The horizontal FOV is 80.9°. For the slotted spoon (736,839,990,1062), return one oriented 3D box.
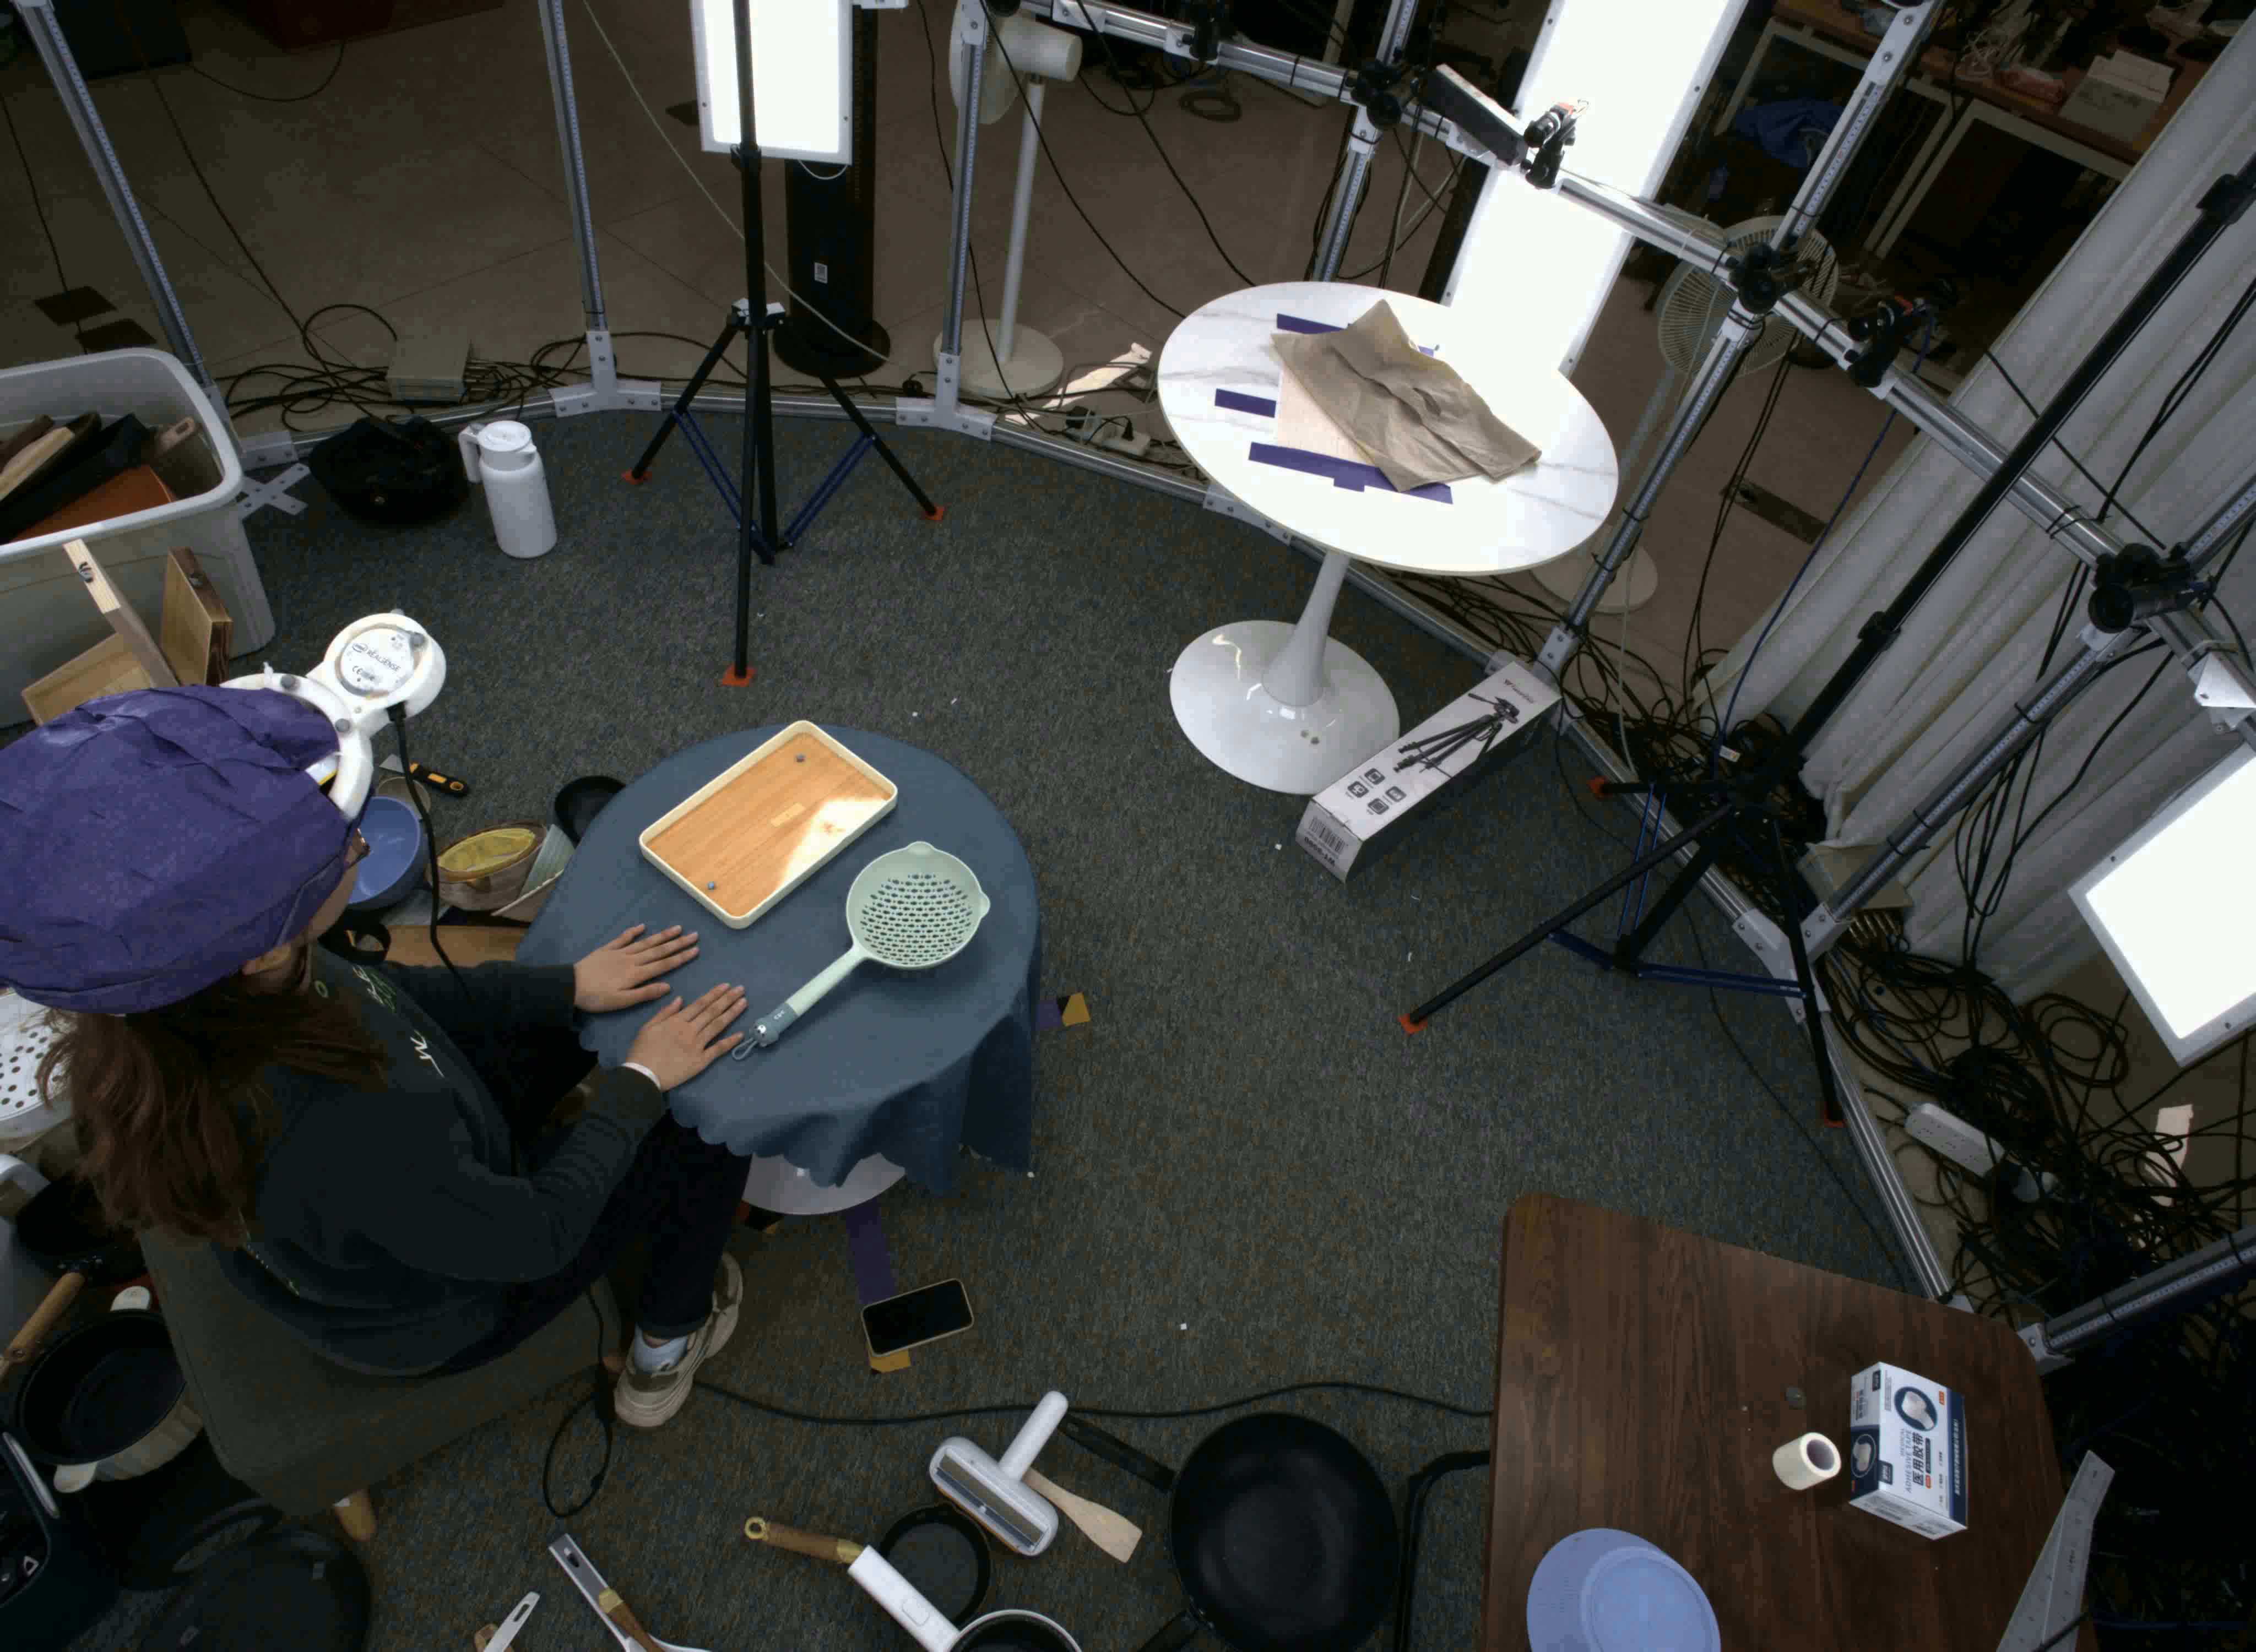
[{"bbox_3d":[-0.333,0.159,1.592,0.165,0.077,0.359,41,55,18],"label":"slotted spoon"}]

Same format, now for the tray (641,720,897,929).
[{"bbox_3d":[-0.469,-0.010,1.708,0.188,0.028,0.300,36,53,13],"label":"tray"}]
